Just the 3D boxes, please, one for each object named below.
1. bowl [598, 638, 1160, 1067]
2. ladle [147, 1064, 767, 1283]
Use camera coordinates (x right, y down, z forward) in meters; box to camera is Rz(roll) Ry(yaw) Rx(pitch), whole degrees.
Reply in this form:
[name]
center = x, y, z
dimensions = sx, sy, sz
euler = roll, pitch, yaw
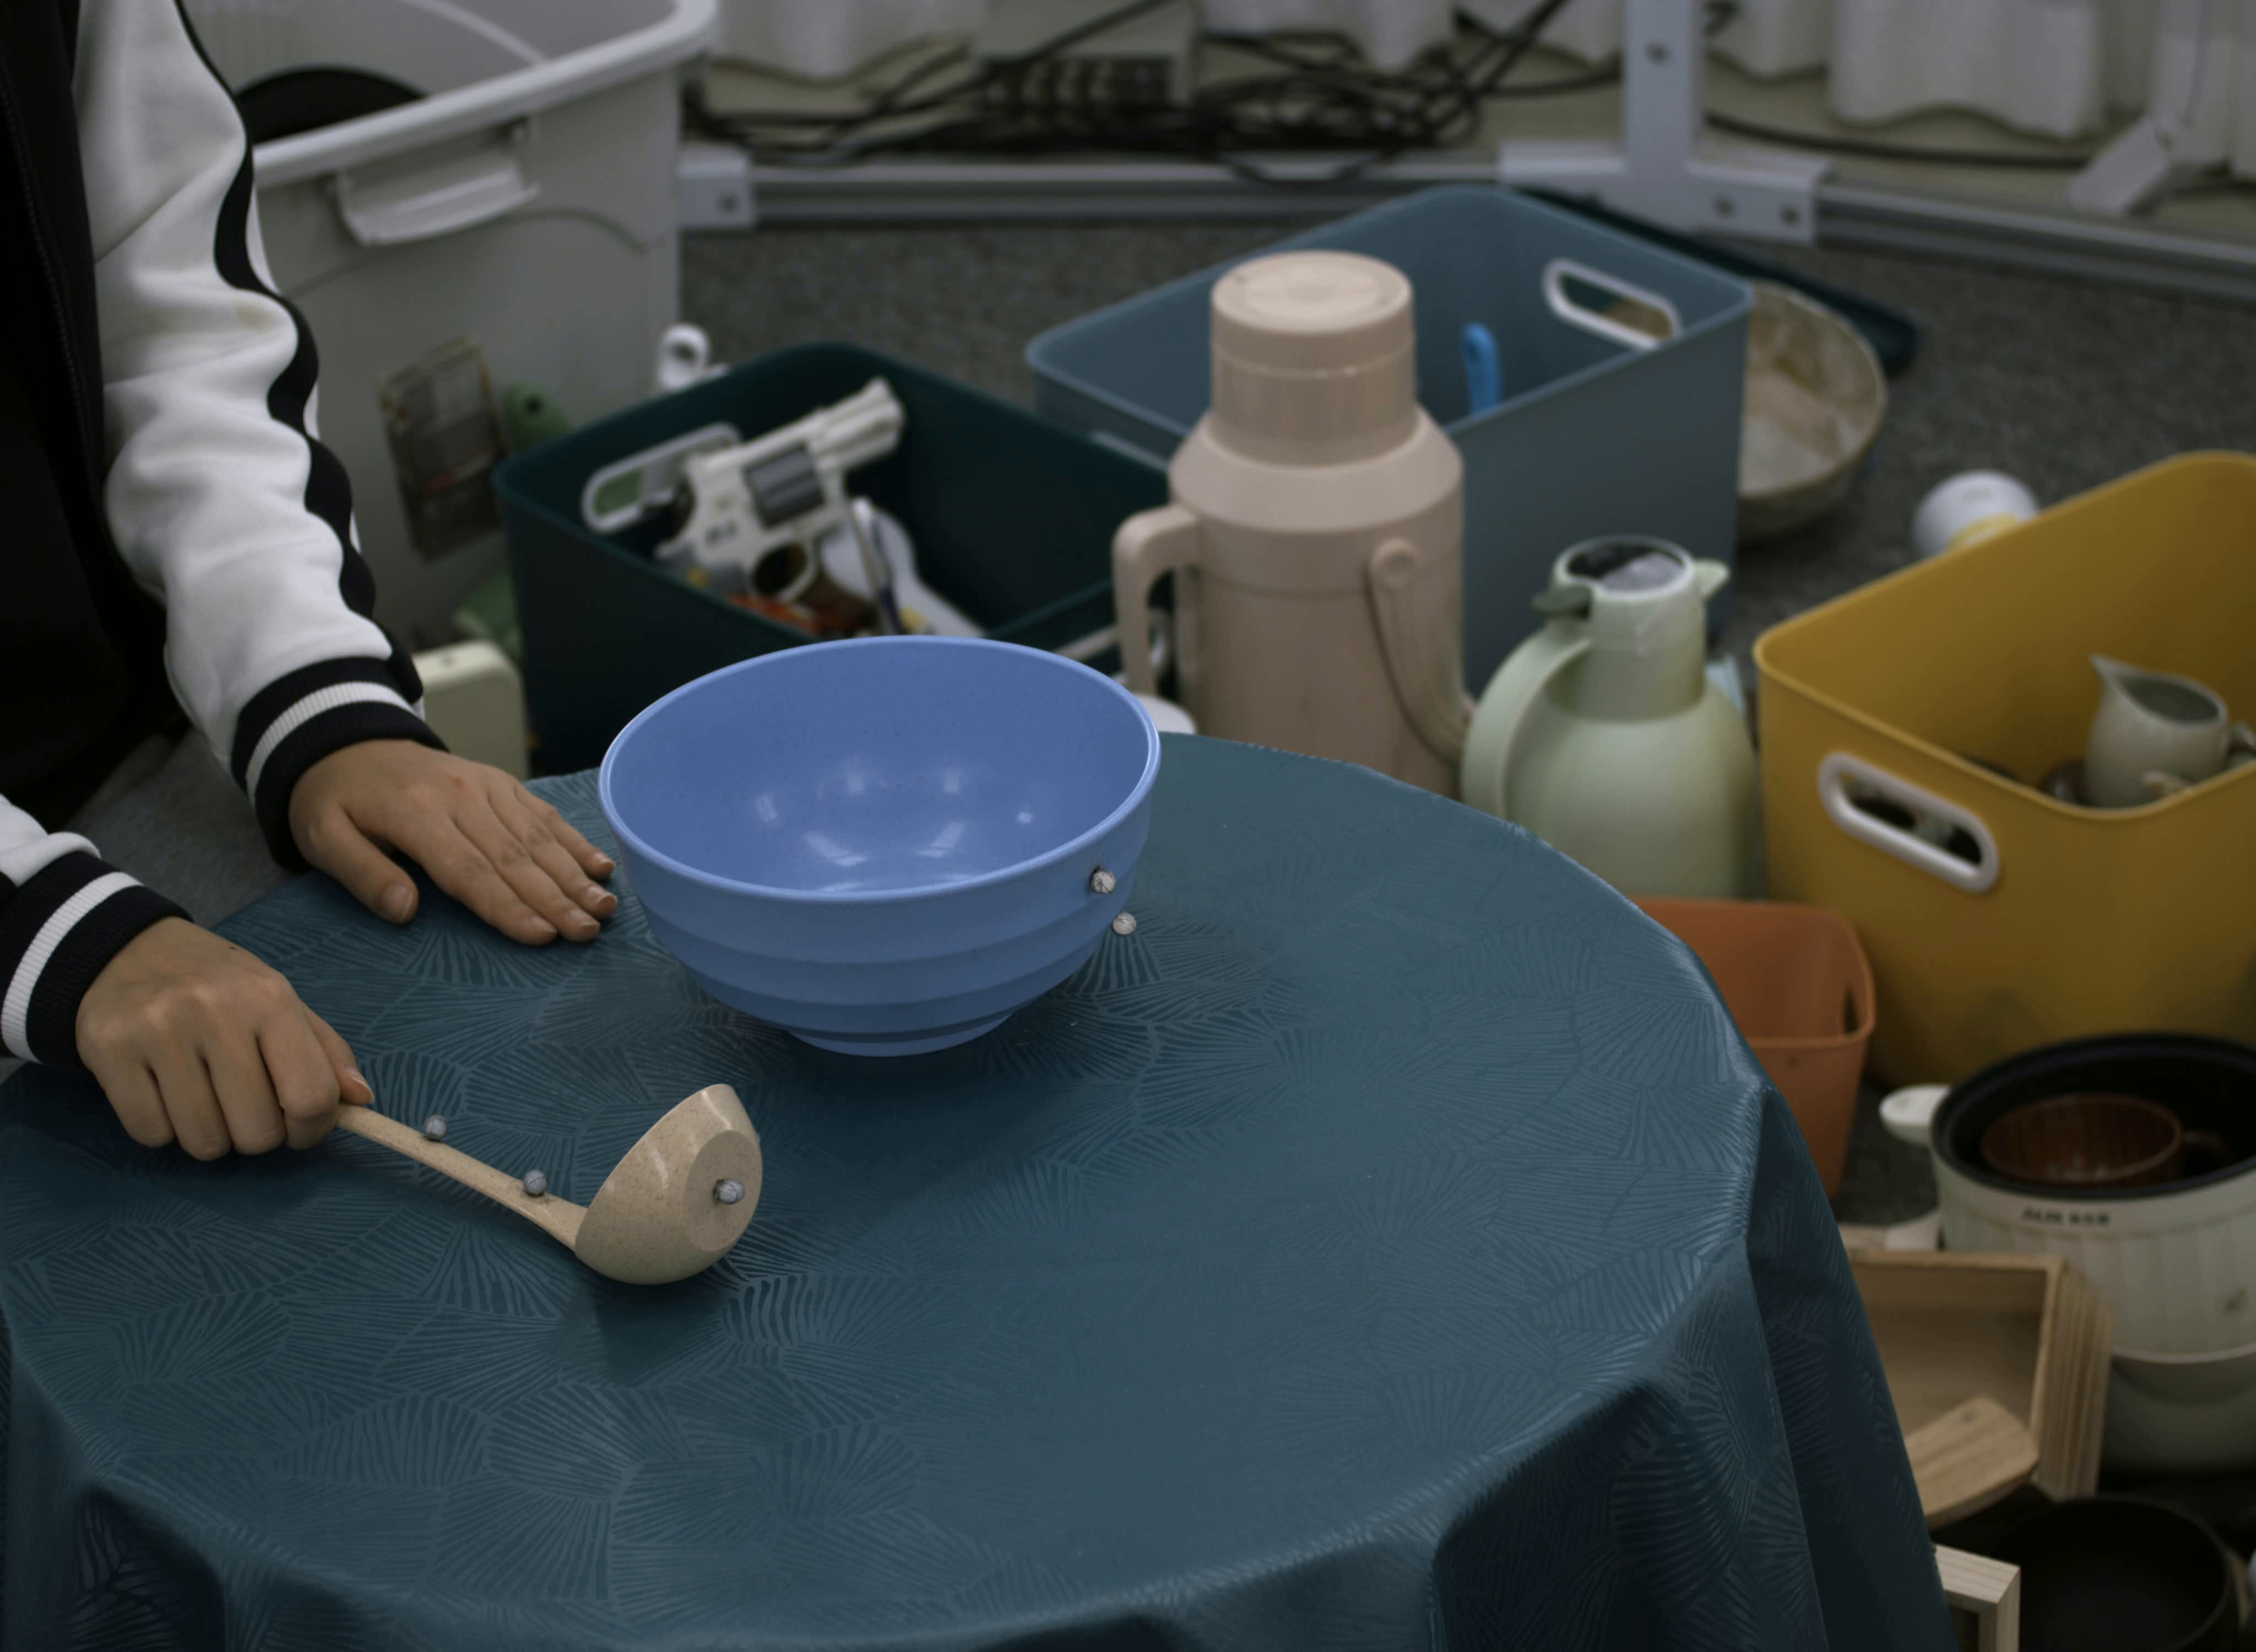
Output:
[bowl]
center = -0.083, 0.021, 1.970
dimensions = 0.195, 0.094, 0.199
euler = -3, 28, 2
[ladle]
center = -0.231, 0.088, 1.863
dimensions = 0.253, 0.072, 0.073
euler = 17, 29, 30
